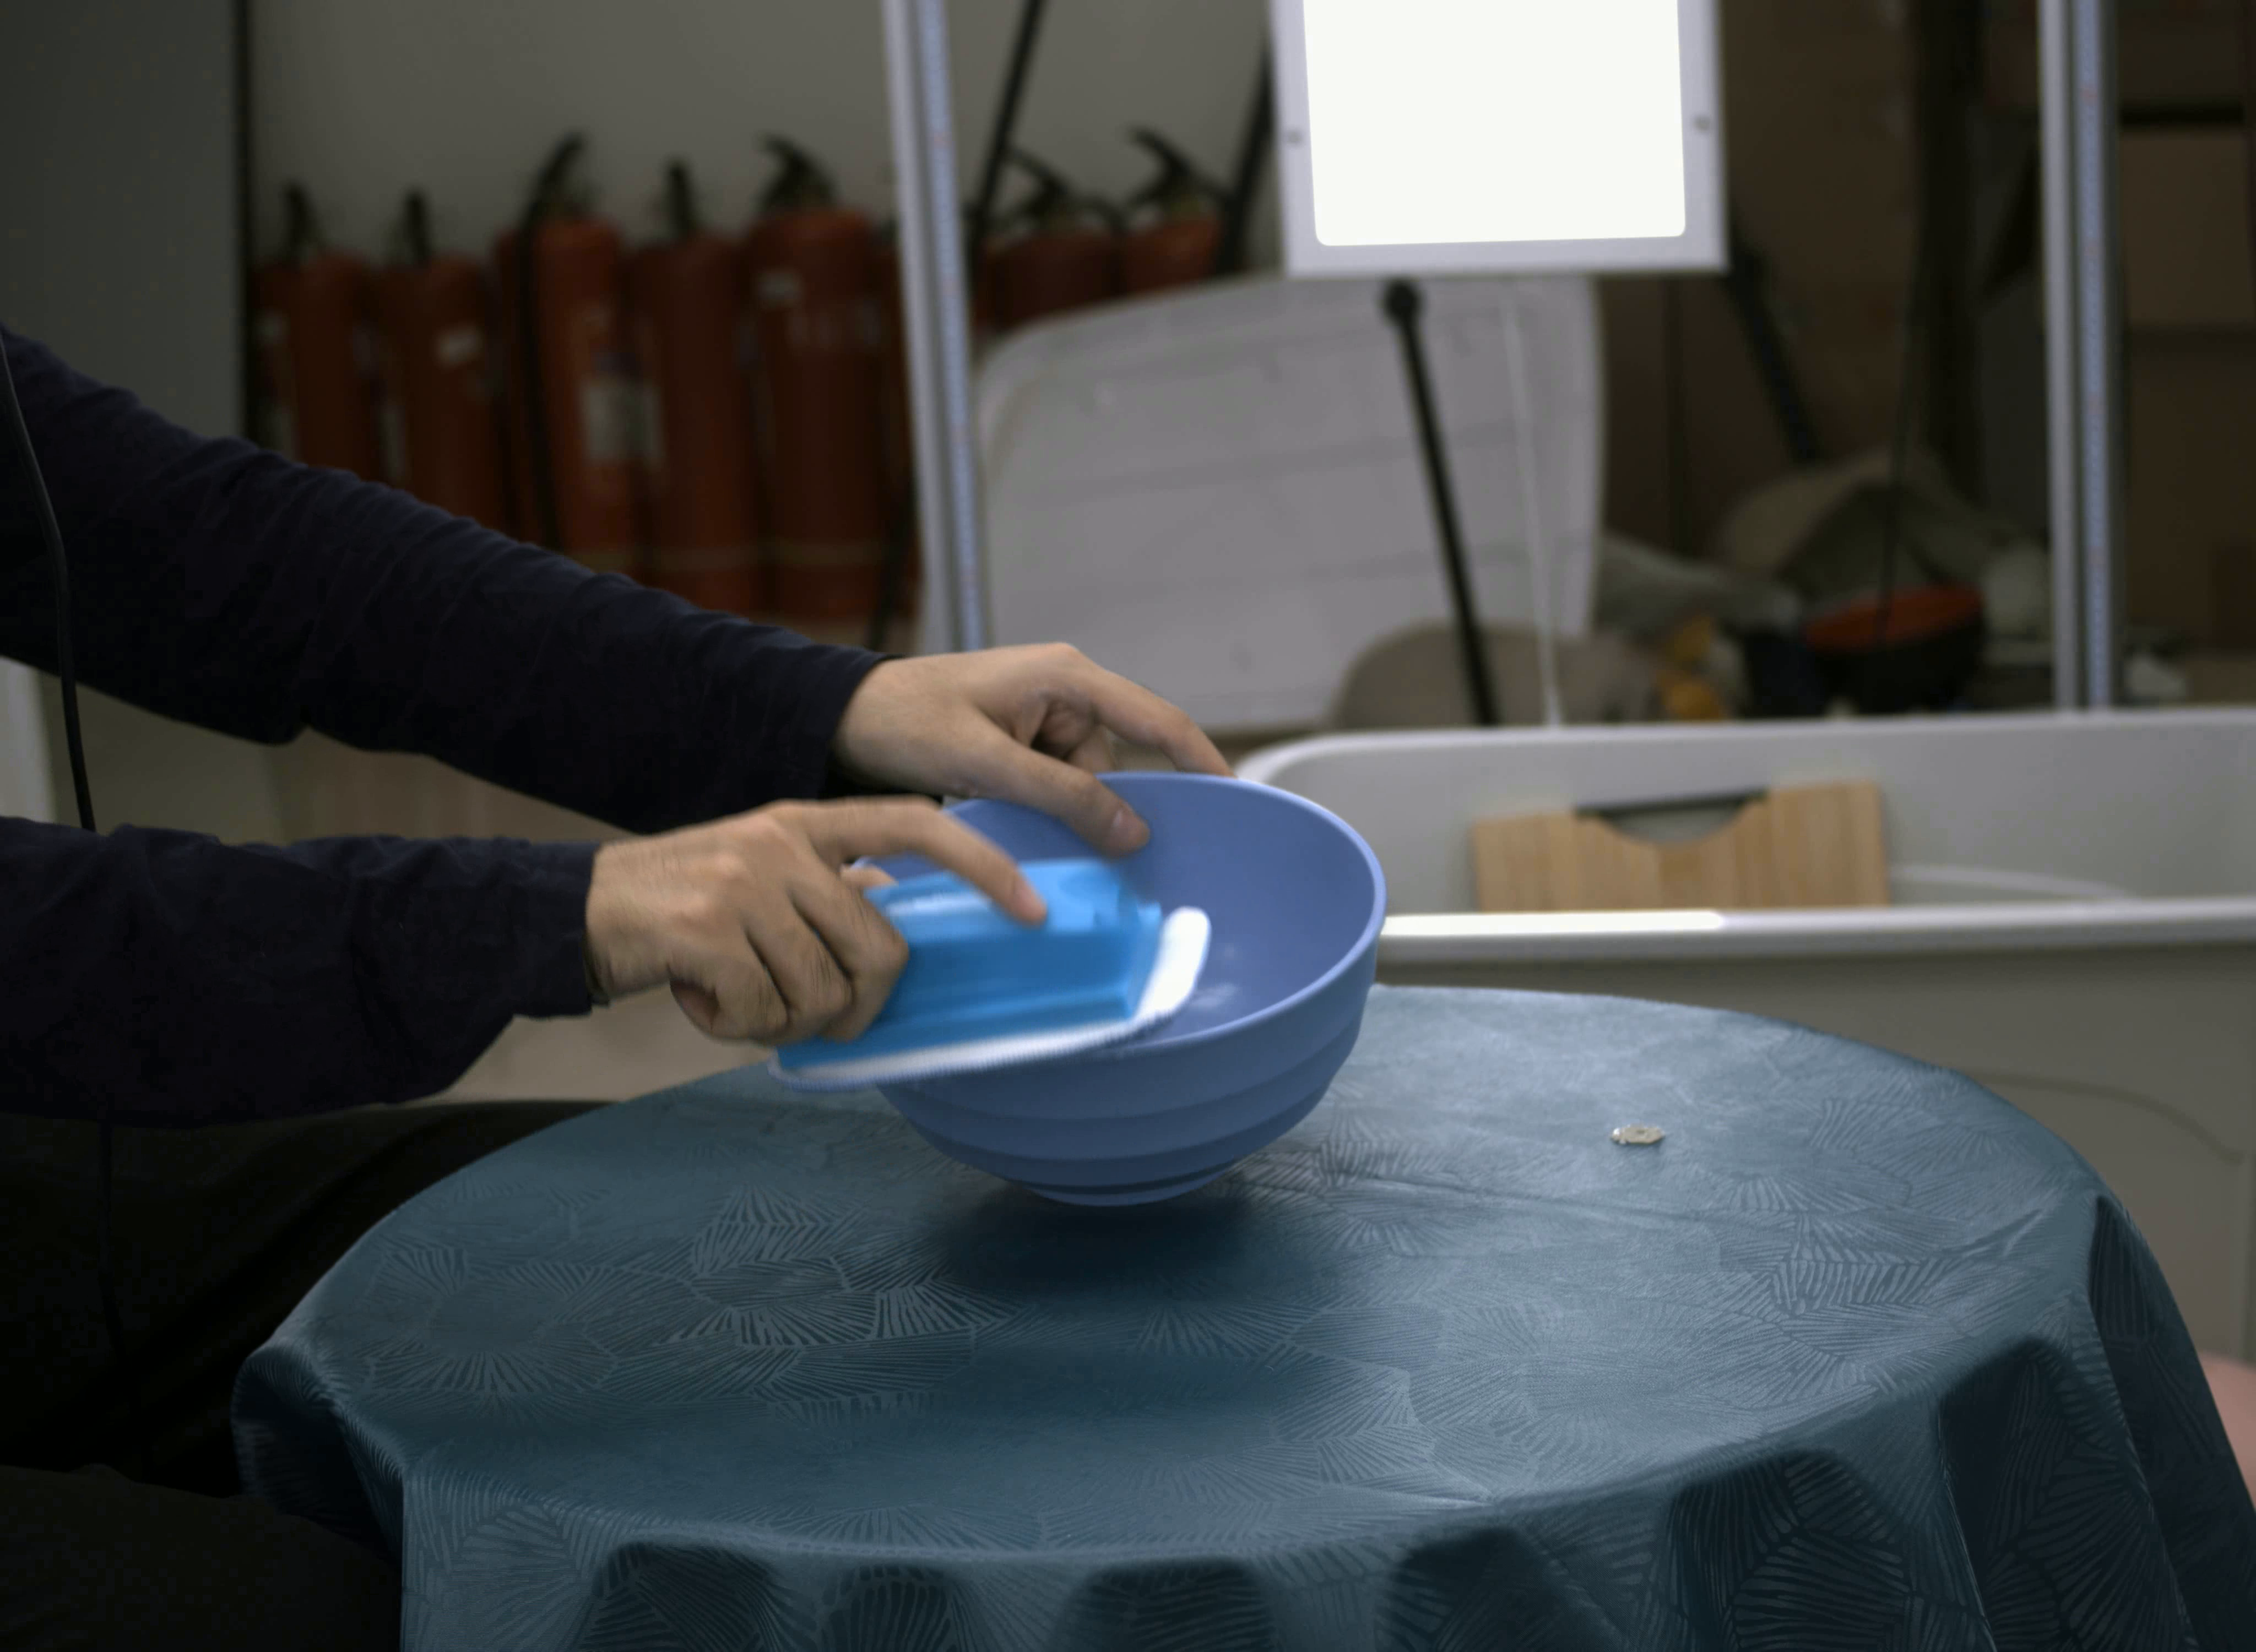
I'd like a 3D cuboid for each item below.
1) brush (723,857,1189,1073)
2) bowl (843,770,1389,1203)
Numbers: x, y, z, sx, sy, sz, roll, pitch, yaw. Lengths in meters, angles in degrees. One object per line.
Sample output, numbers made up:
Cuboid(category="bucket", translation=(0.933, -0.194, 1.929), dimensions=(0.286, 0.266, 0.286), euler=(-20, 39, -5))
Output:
Cuboid(category="brush", translation=(-0.057, 0.041, 1.744), dimensions=(0.146, 0.056, 0.082), euler=(-4, 26, 22))
Cuboid(category="bowl", translation=(-0.006, 0.067, 1.903), dimensions=(0.196, 0.096, 0.196), euler=(-4, 27, 1))
